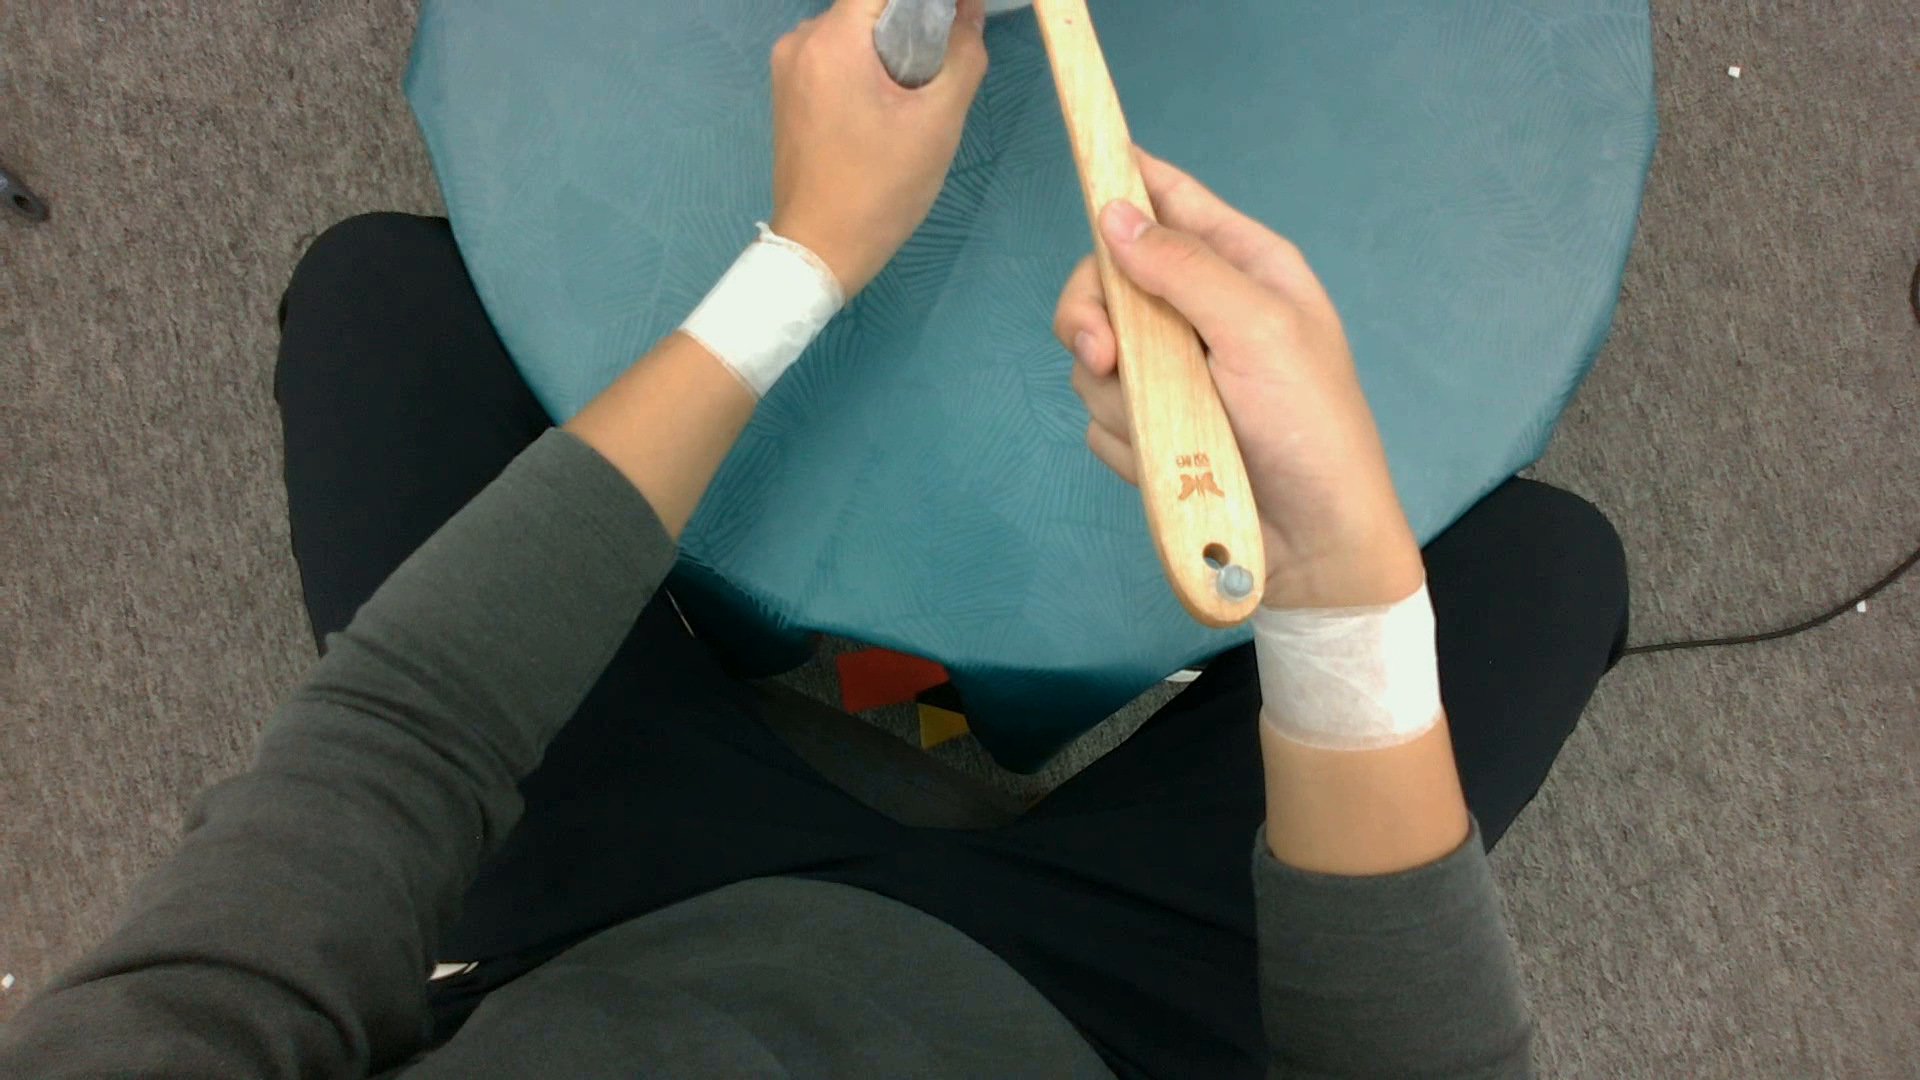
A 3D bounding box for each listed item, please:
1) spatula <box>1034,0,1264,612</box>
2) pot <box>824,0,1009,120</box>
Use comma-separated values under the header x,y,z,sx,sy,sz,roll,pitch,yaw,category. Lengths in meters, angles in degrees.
x,y,z,sx,sy,sz,roll,pitch,yaw,category
0.046,-0.151,0.465,0.096,0.018,0.392,-6,60,-9,spatula
-0.002,-0.289,0.558,0.179,0.137,0.233,15,99,-14,pot
